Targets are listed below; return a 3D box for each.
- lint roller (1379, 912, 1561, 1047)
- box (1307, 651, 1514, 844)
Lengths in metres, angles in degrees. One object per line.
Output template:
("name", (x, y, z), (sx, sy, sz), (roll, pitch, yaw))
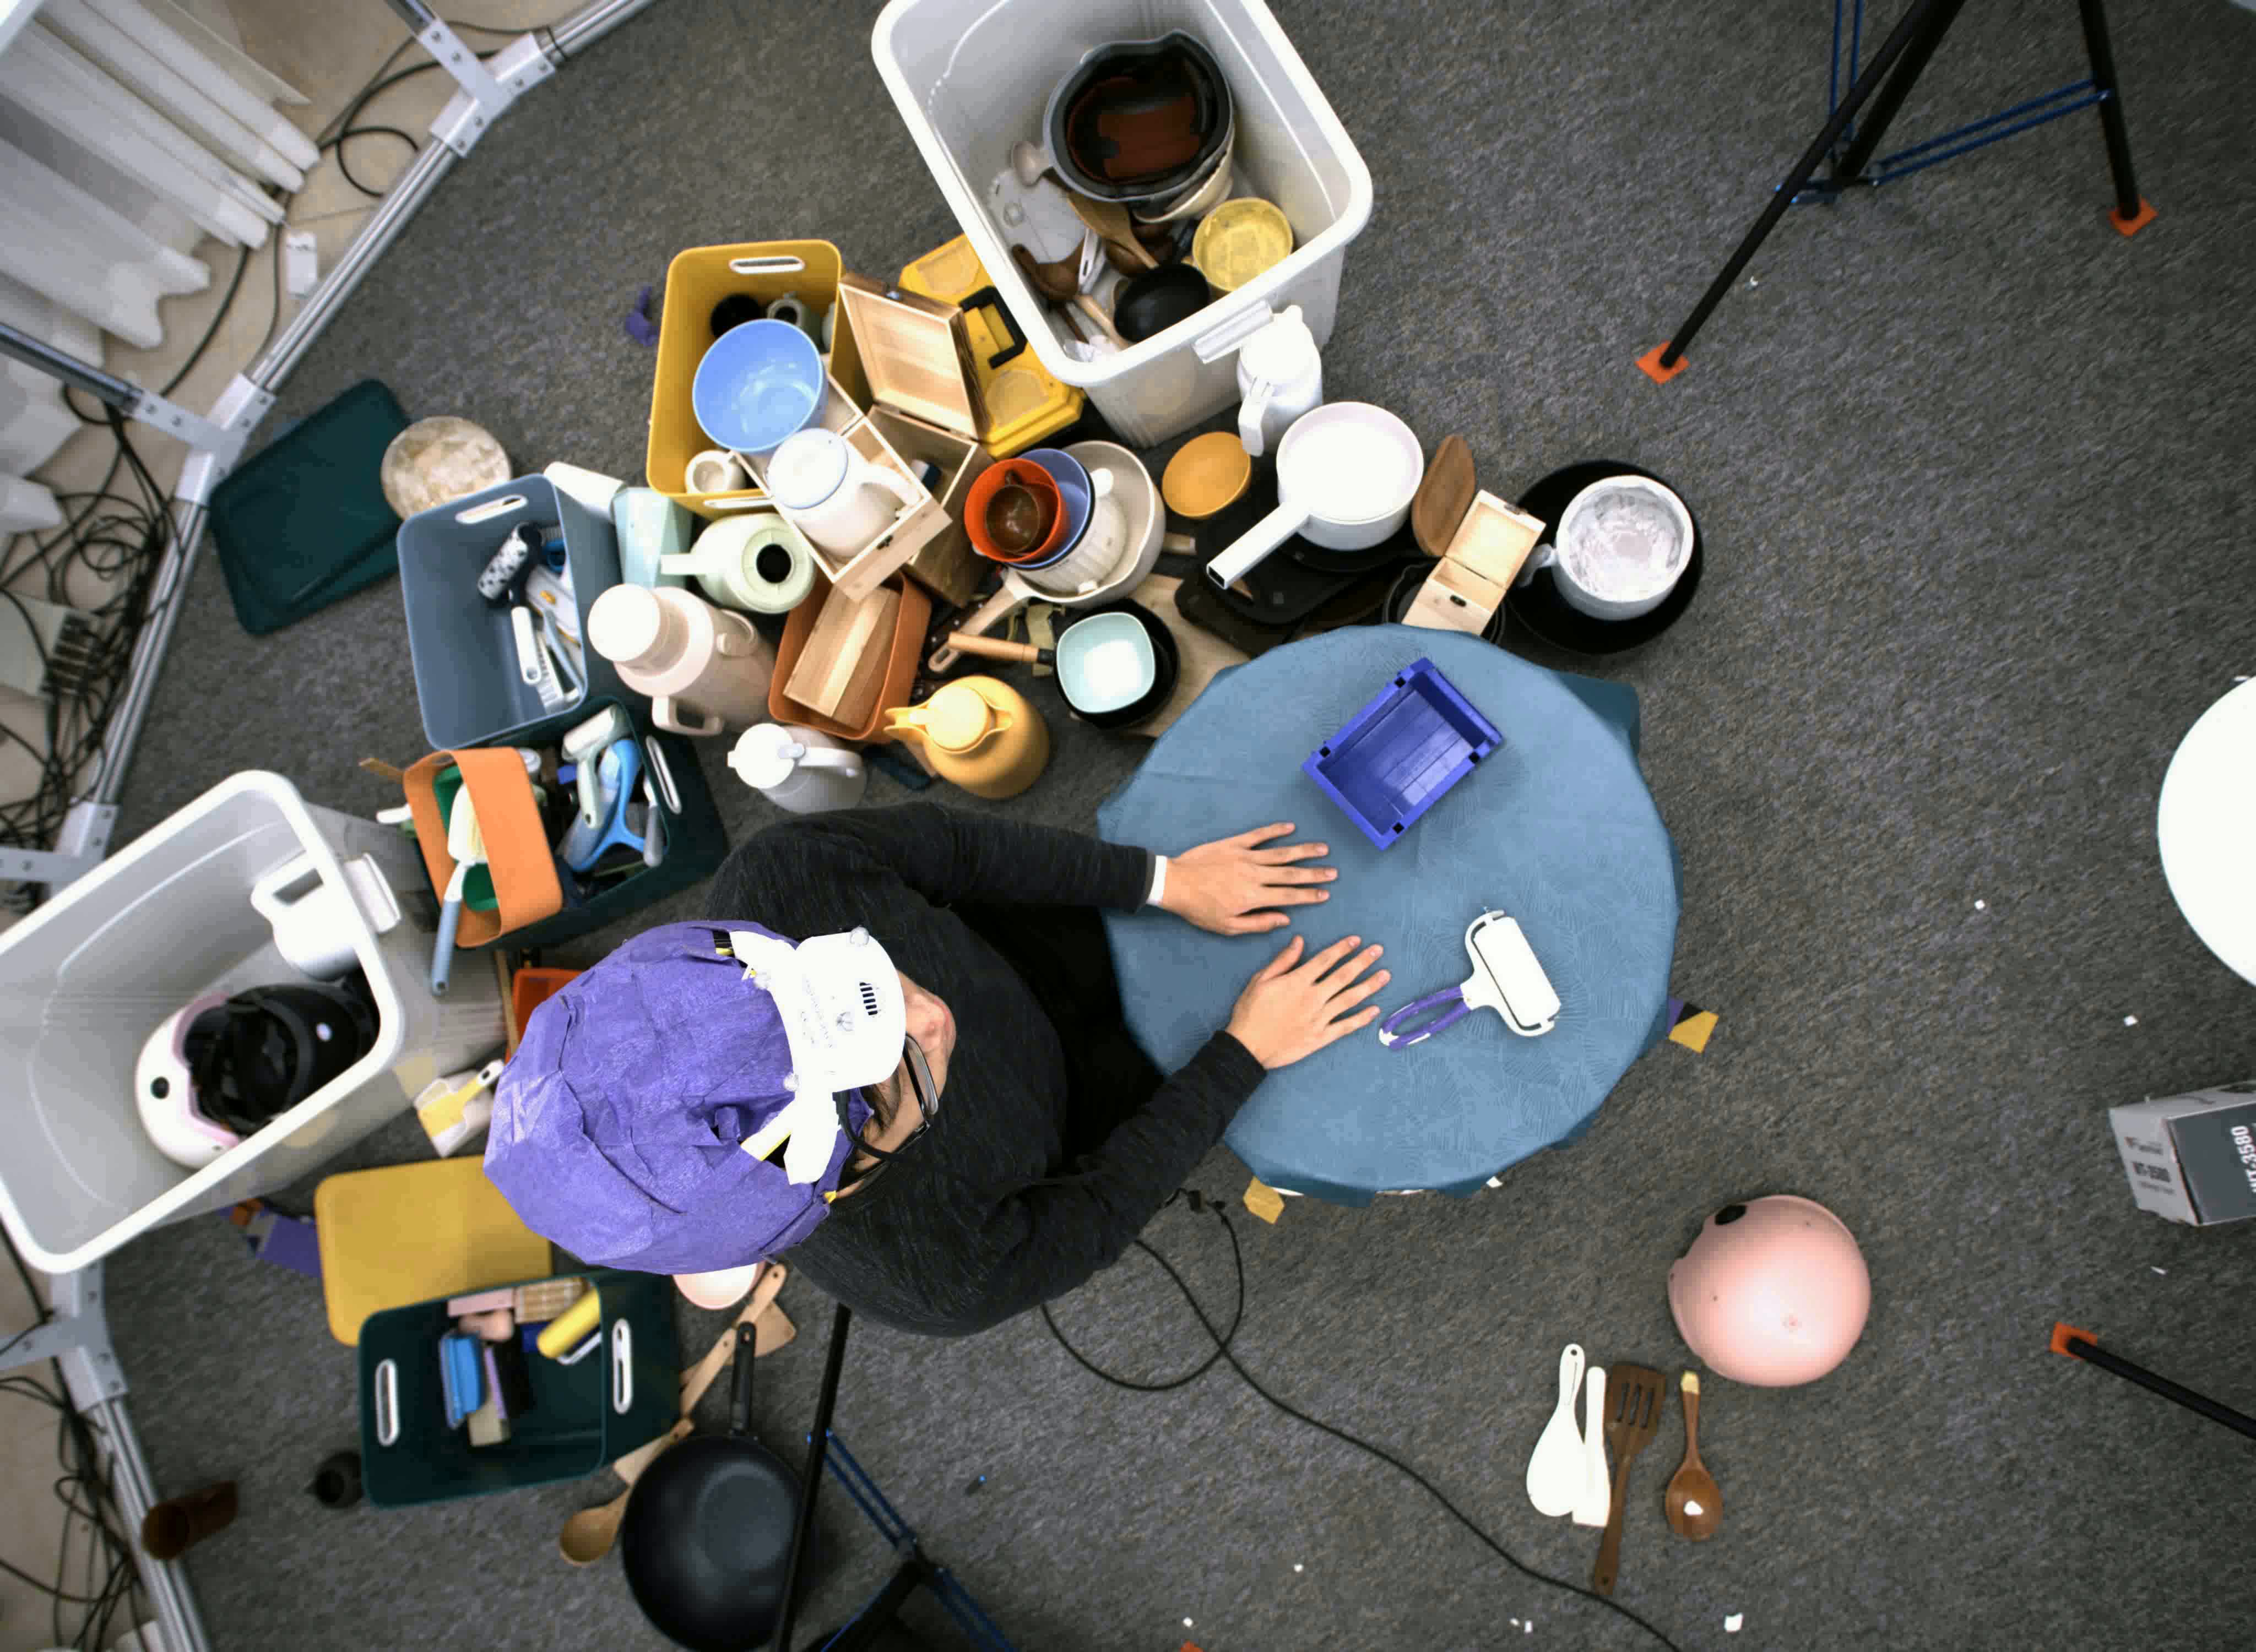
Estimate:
("lint roller", (0.340, 0.176, 1.417), (0.181, 0.050, 0.132), (-26, 83, 6))
("box", (0.292, -0.085, 1.423), (0.180, 0.082, 0.124), (-43, 80, 8))
